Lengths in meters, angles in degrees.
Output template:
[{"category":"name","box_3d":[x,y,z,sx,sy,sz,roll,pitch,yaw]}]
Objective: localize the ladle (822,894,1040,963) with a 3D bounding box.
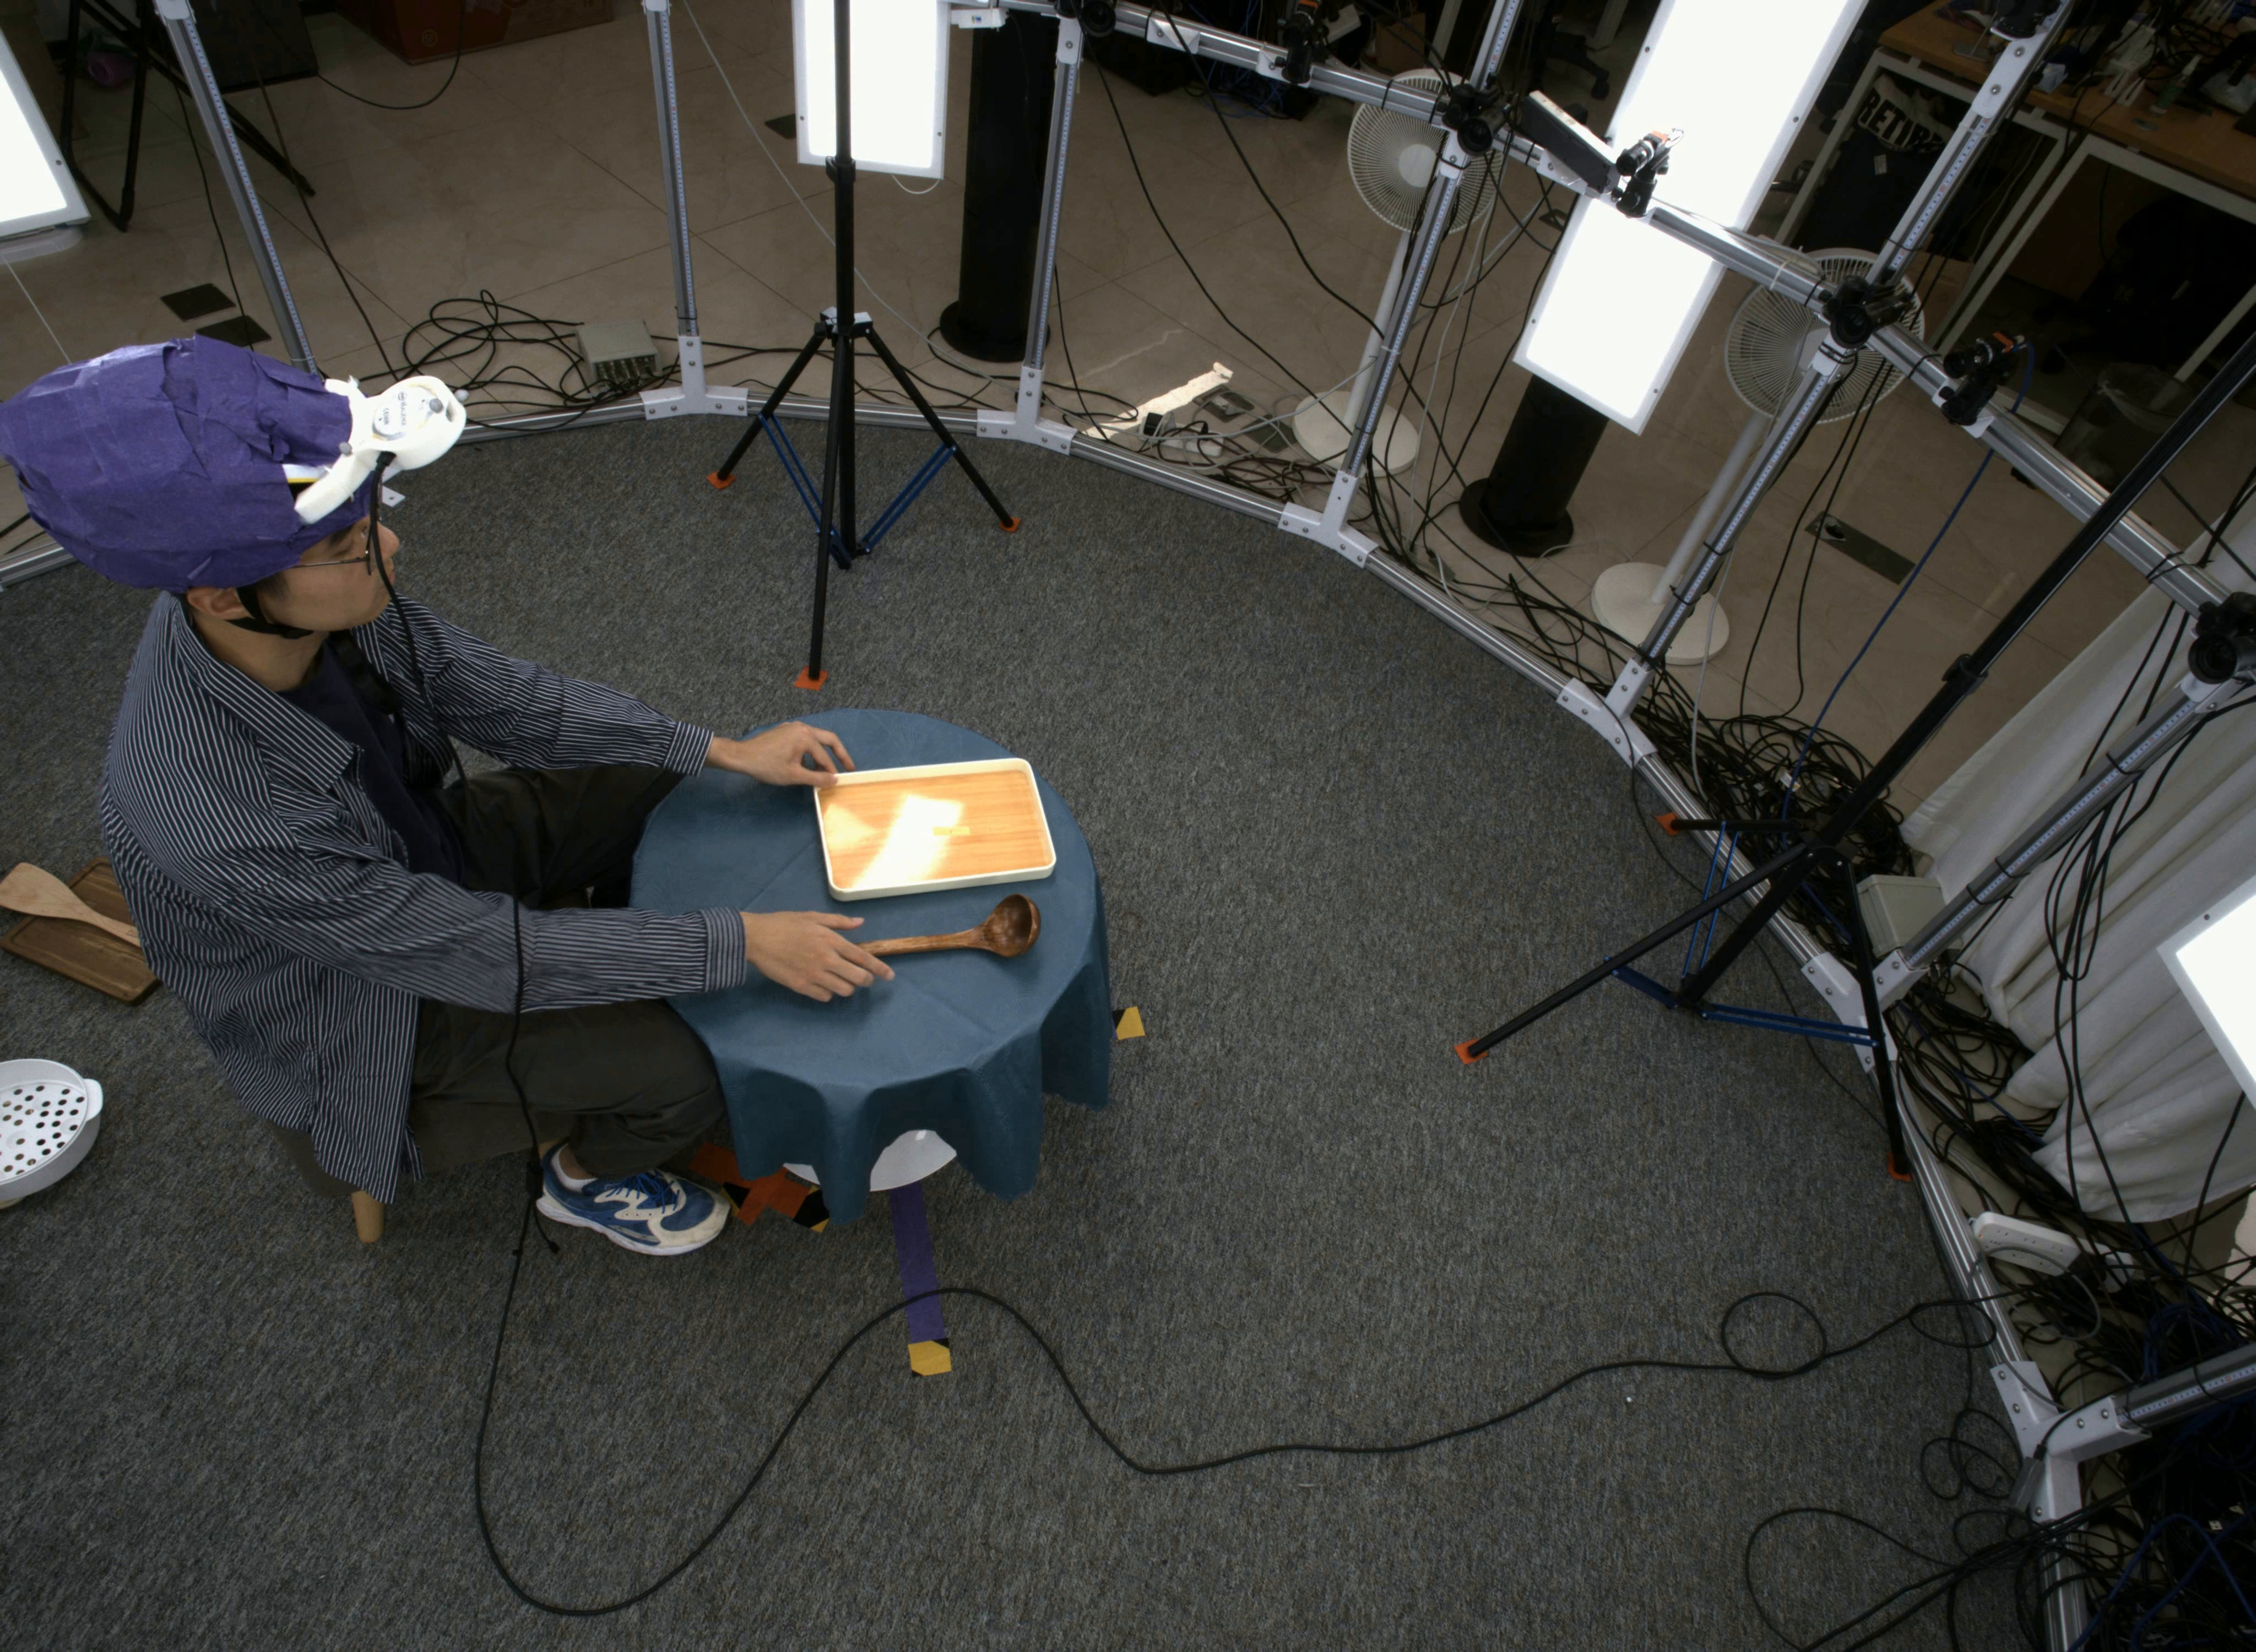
[{"category":"ladle","box_3d":[-0.247,0.135,1.634,0.275,0.078,0.080,-4,58,-16]}]

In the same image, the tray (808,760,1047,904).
[{"category":"tray","box_3d":[-0.270,0.003,1.753,0.301,0.028,0.187,-6,58,-19]}]
